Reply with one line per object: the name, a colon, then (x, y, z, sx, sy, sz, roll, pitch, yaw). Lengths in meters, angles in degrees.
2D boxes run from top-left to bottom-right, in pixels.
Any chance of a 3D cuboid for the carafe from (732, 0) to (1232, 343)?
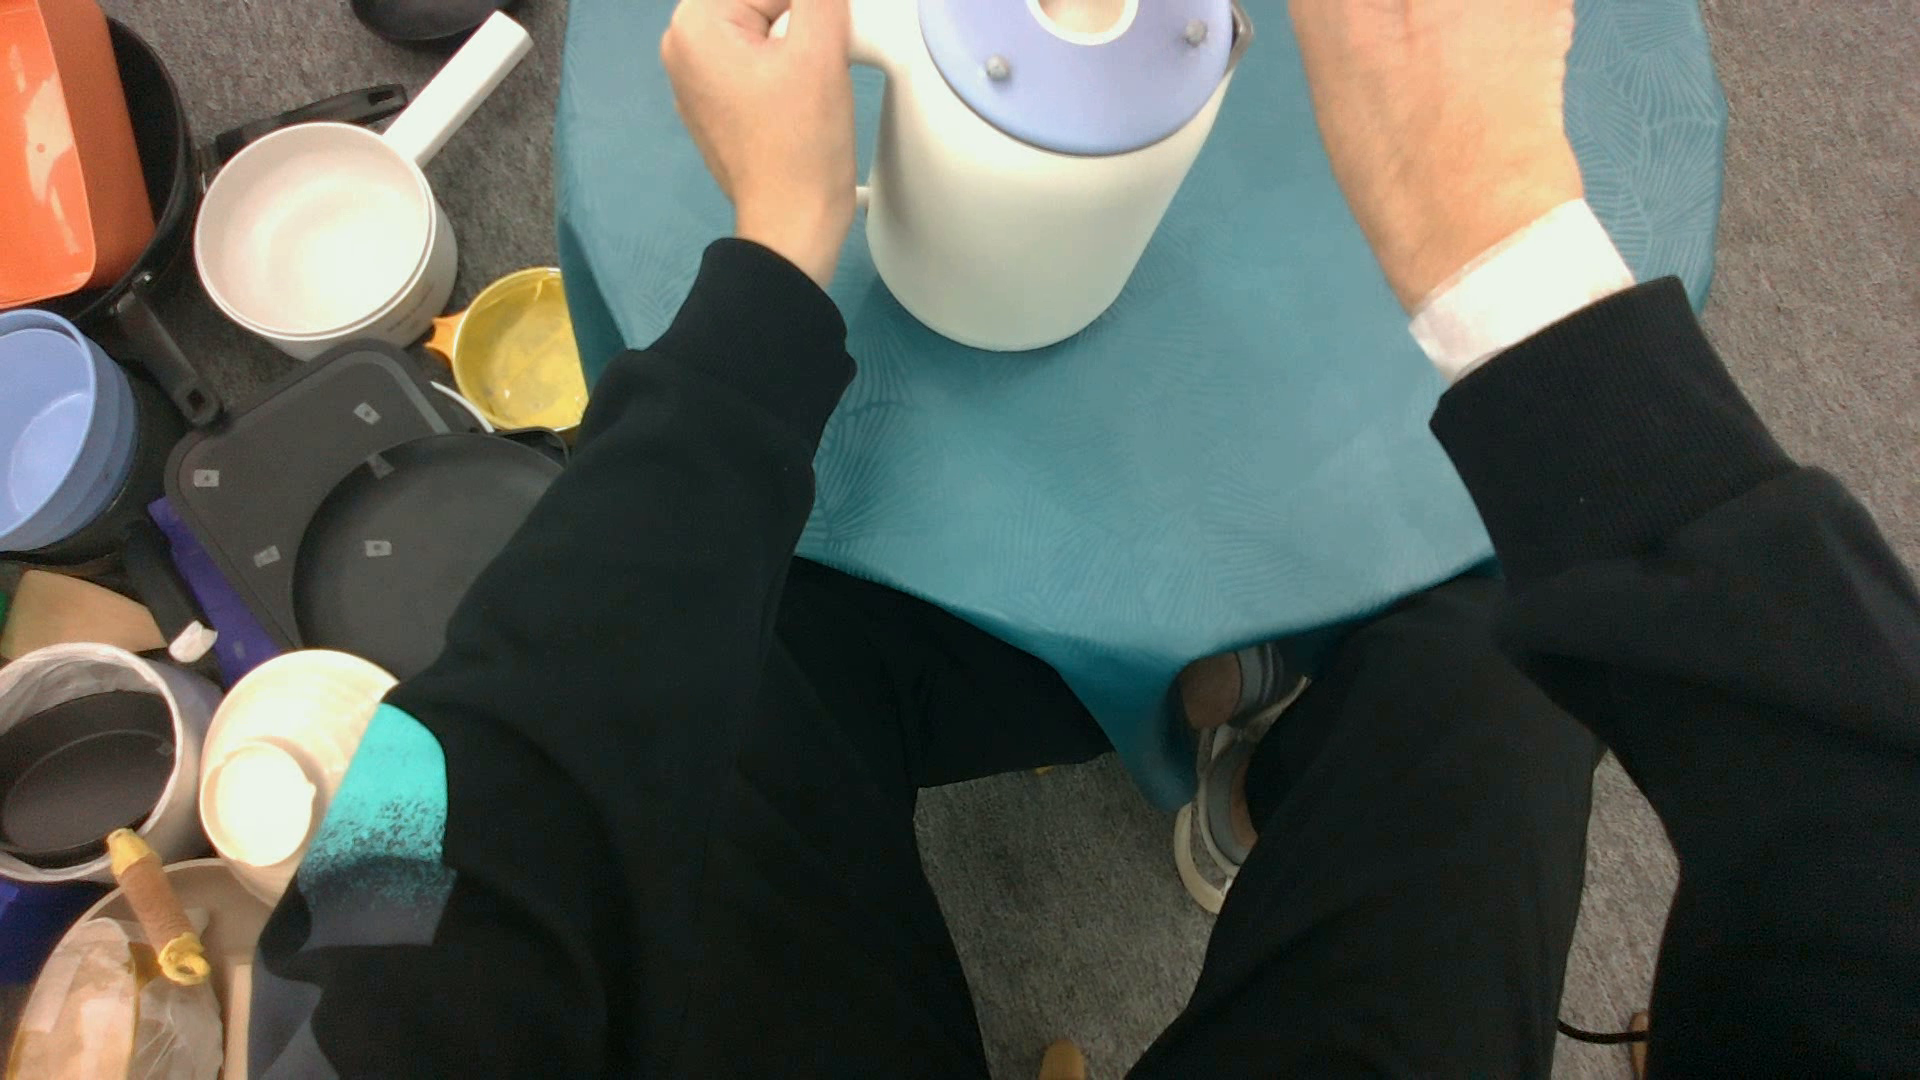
carafe: (-0.001, -0.176, 0.583, 0.191, 0.182, 0.132, 0, 73, -7)
